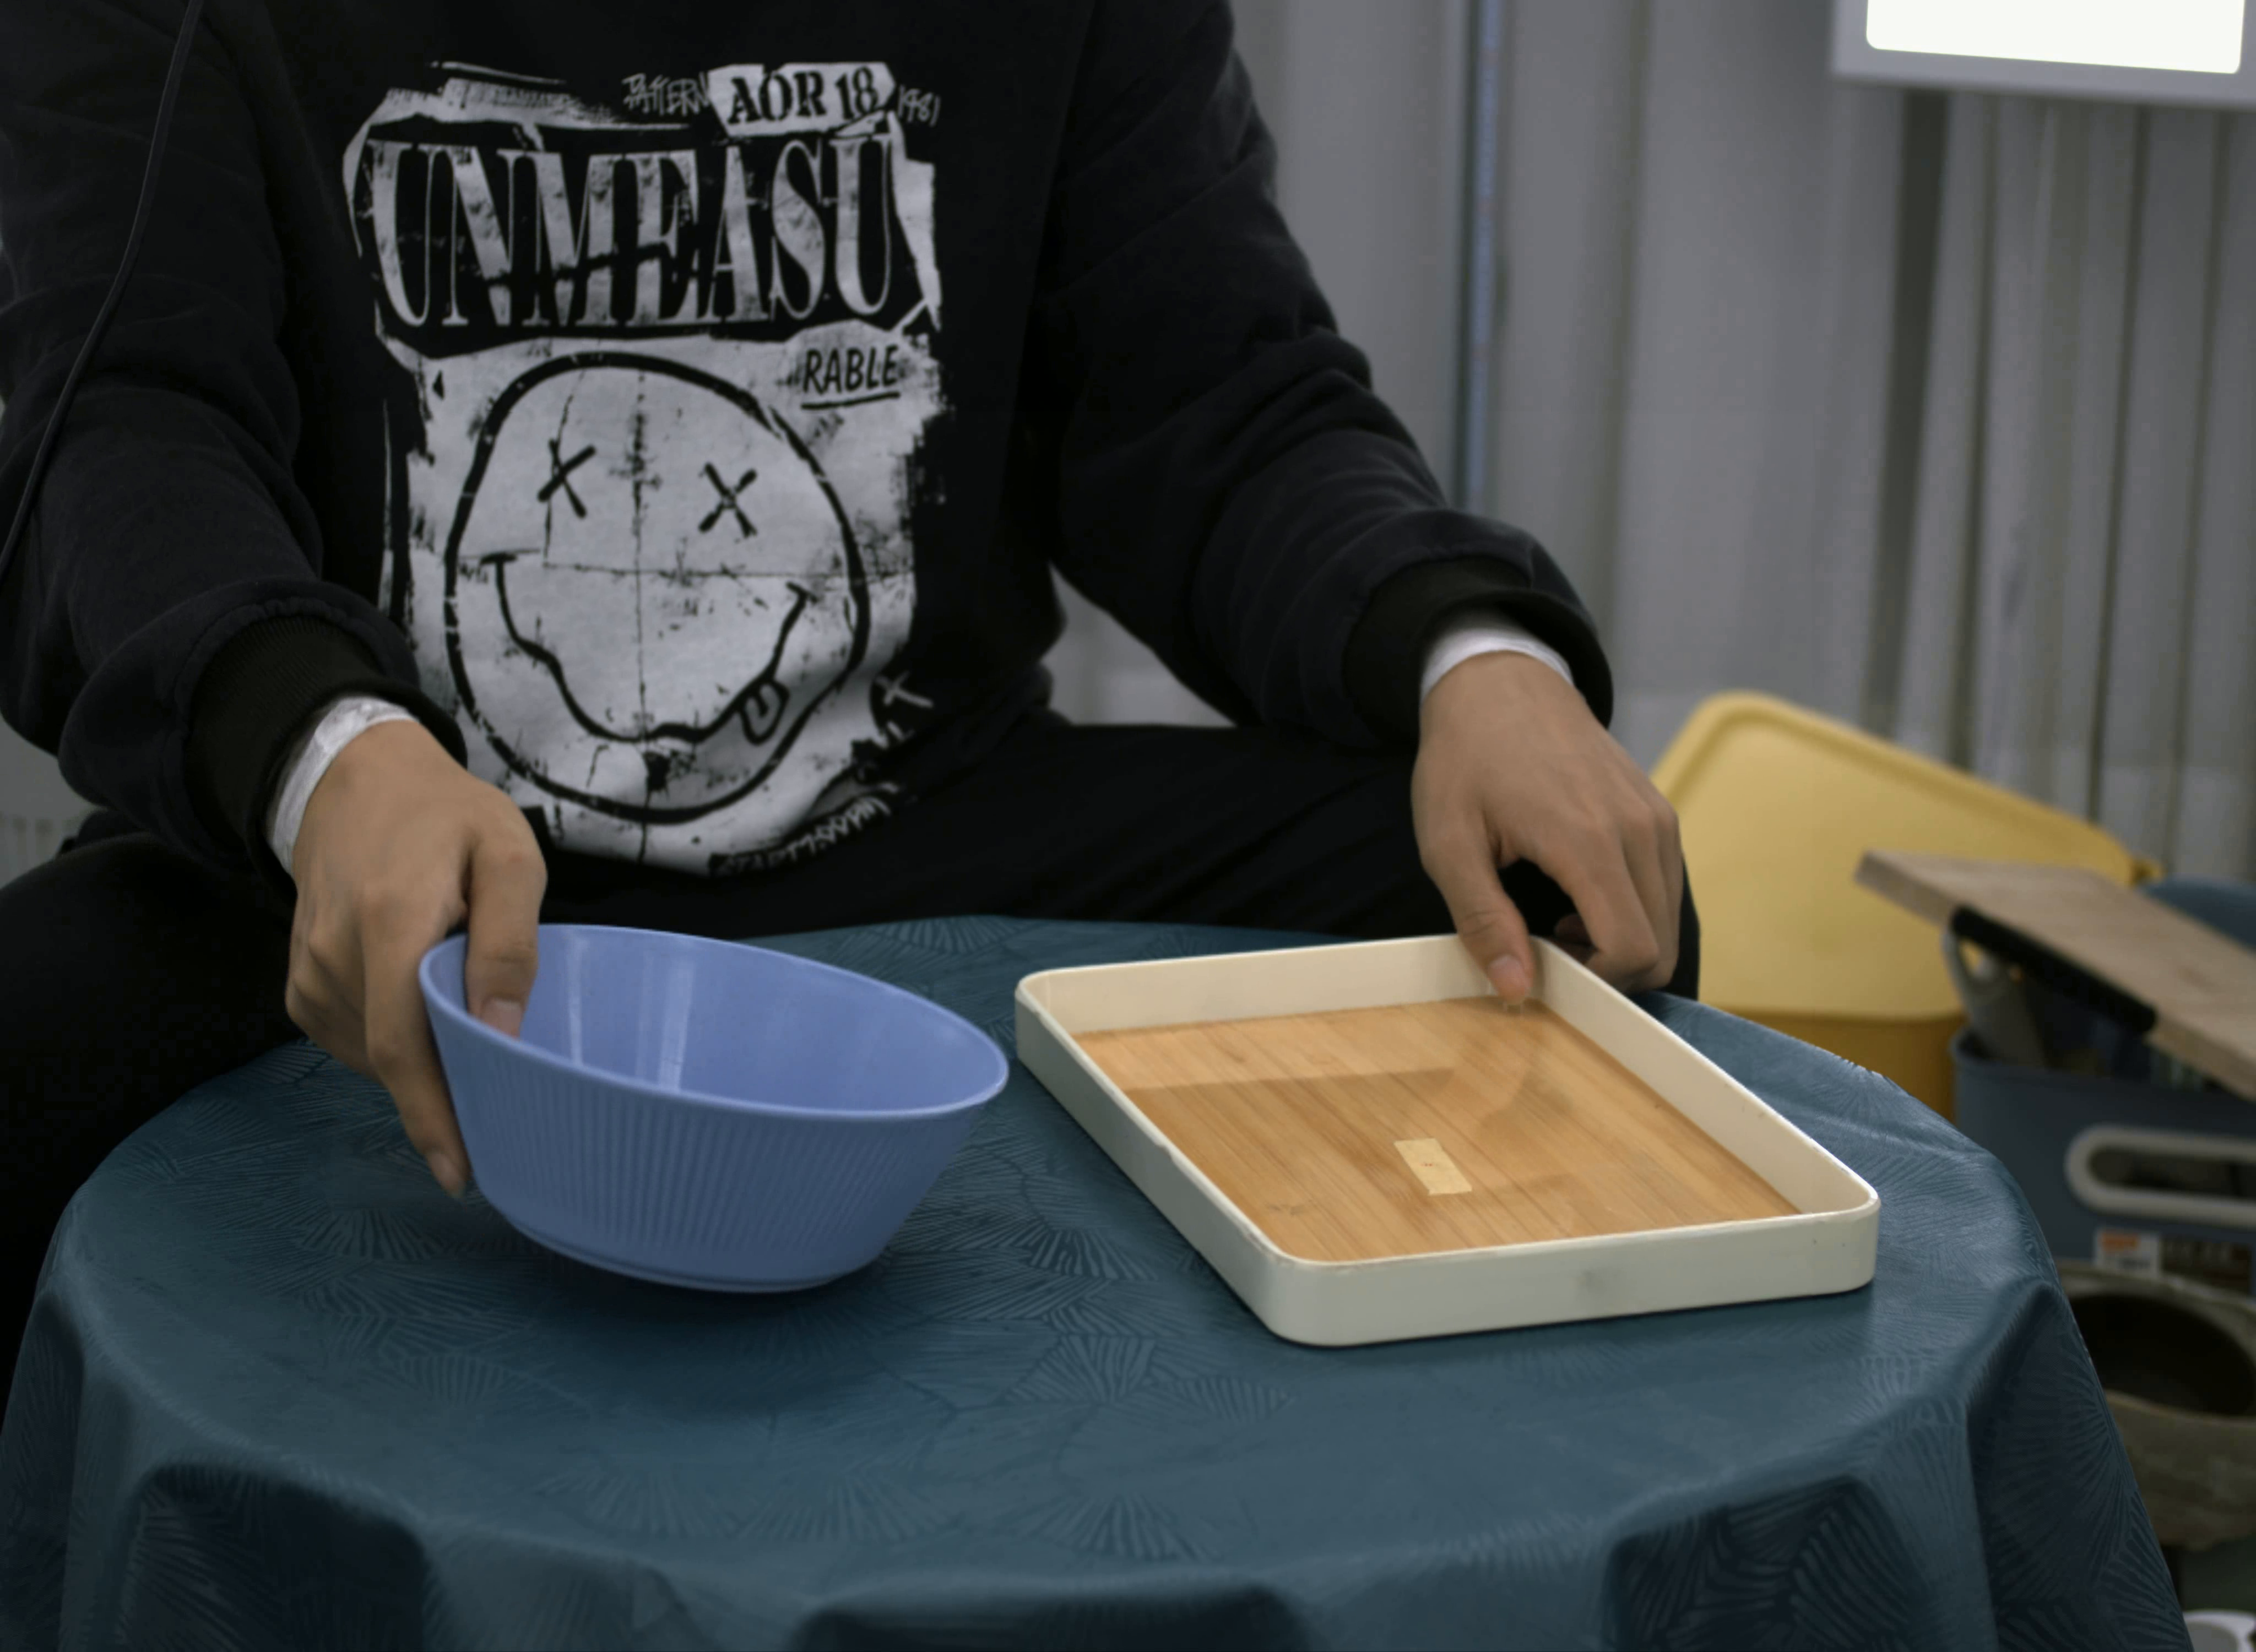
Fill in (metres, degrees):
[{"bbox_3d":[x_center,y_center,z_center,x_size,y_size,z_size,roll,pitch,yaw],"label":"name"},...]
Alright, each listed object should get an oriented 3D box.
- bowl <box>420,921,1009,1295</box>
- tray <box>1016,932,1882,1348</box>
[{"bbox_3d":[-0.126,0.086,1.552,0.176,0.071,0.175,11,15,-2],"label":"bowl"},{"bbox_3d":[0.092,0.093,1.651,0.192,0.027,0.297,-4,17,-17],"label":"tray"}]
